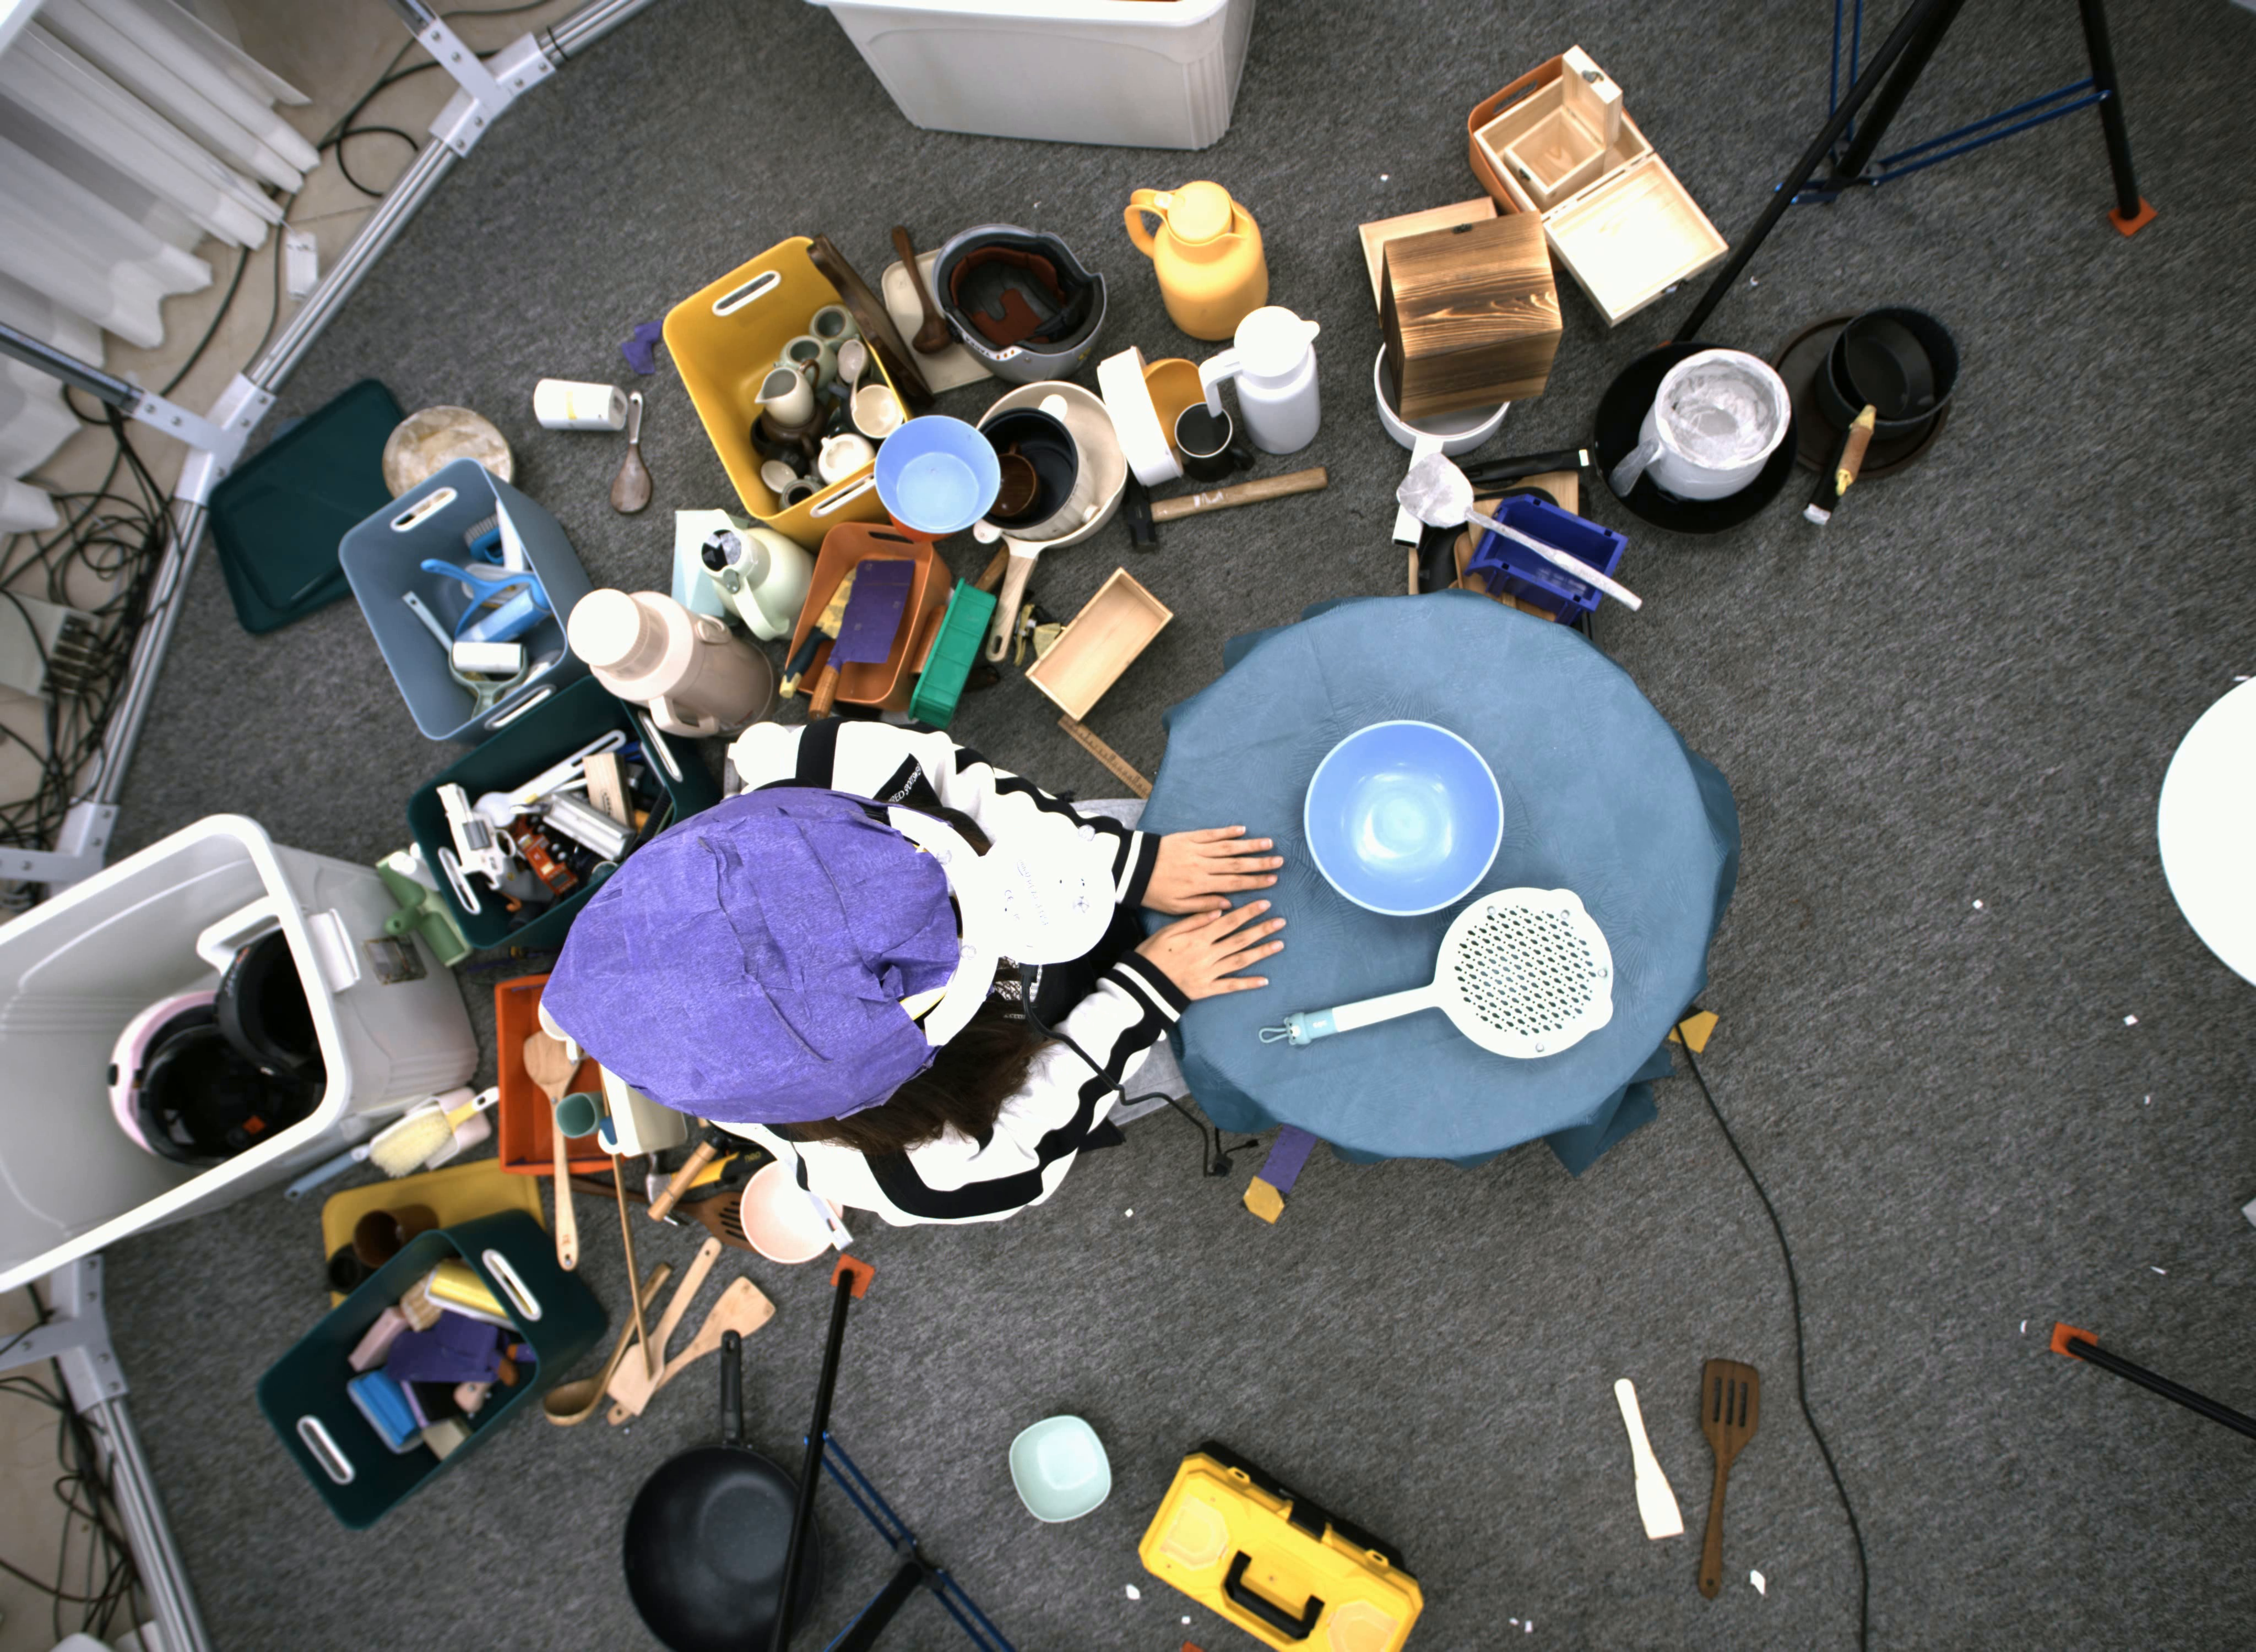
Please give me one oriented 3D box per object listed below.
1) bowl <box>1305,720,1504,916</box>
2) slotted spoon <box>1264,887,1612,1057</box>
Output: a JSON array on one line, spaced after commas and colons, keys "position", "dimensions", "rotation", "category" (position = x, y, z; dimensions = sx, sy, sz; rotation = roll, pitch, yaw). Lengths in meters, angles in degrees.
[{"position": [0.282, -0.005, 1.414], "dimensions": [0.197, 0.095, 0.195], "rotation": [-1, 87, 10], "category": "bowl"}, {"position": [0.310, 0.172, 1.418], "dimensions": [0.361, 0.075, 0.168], "rotation": [-16, 83, 11], "category": "slotted spoon"}]
